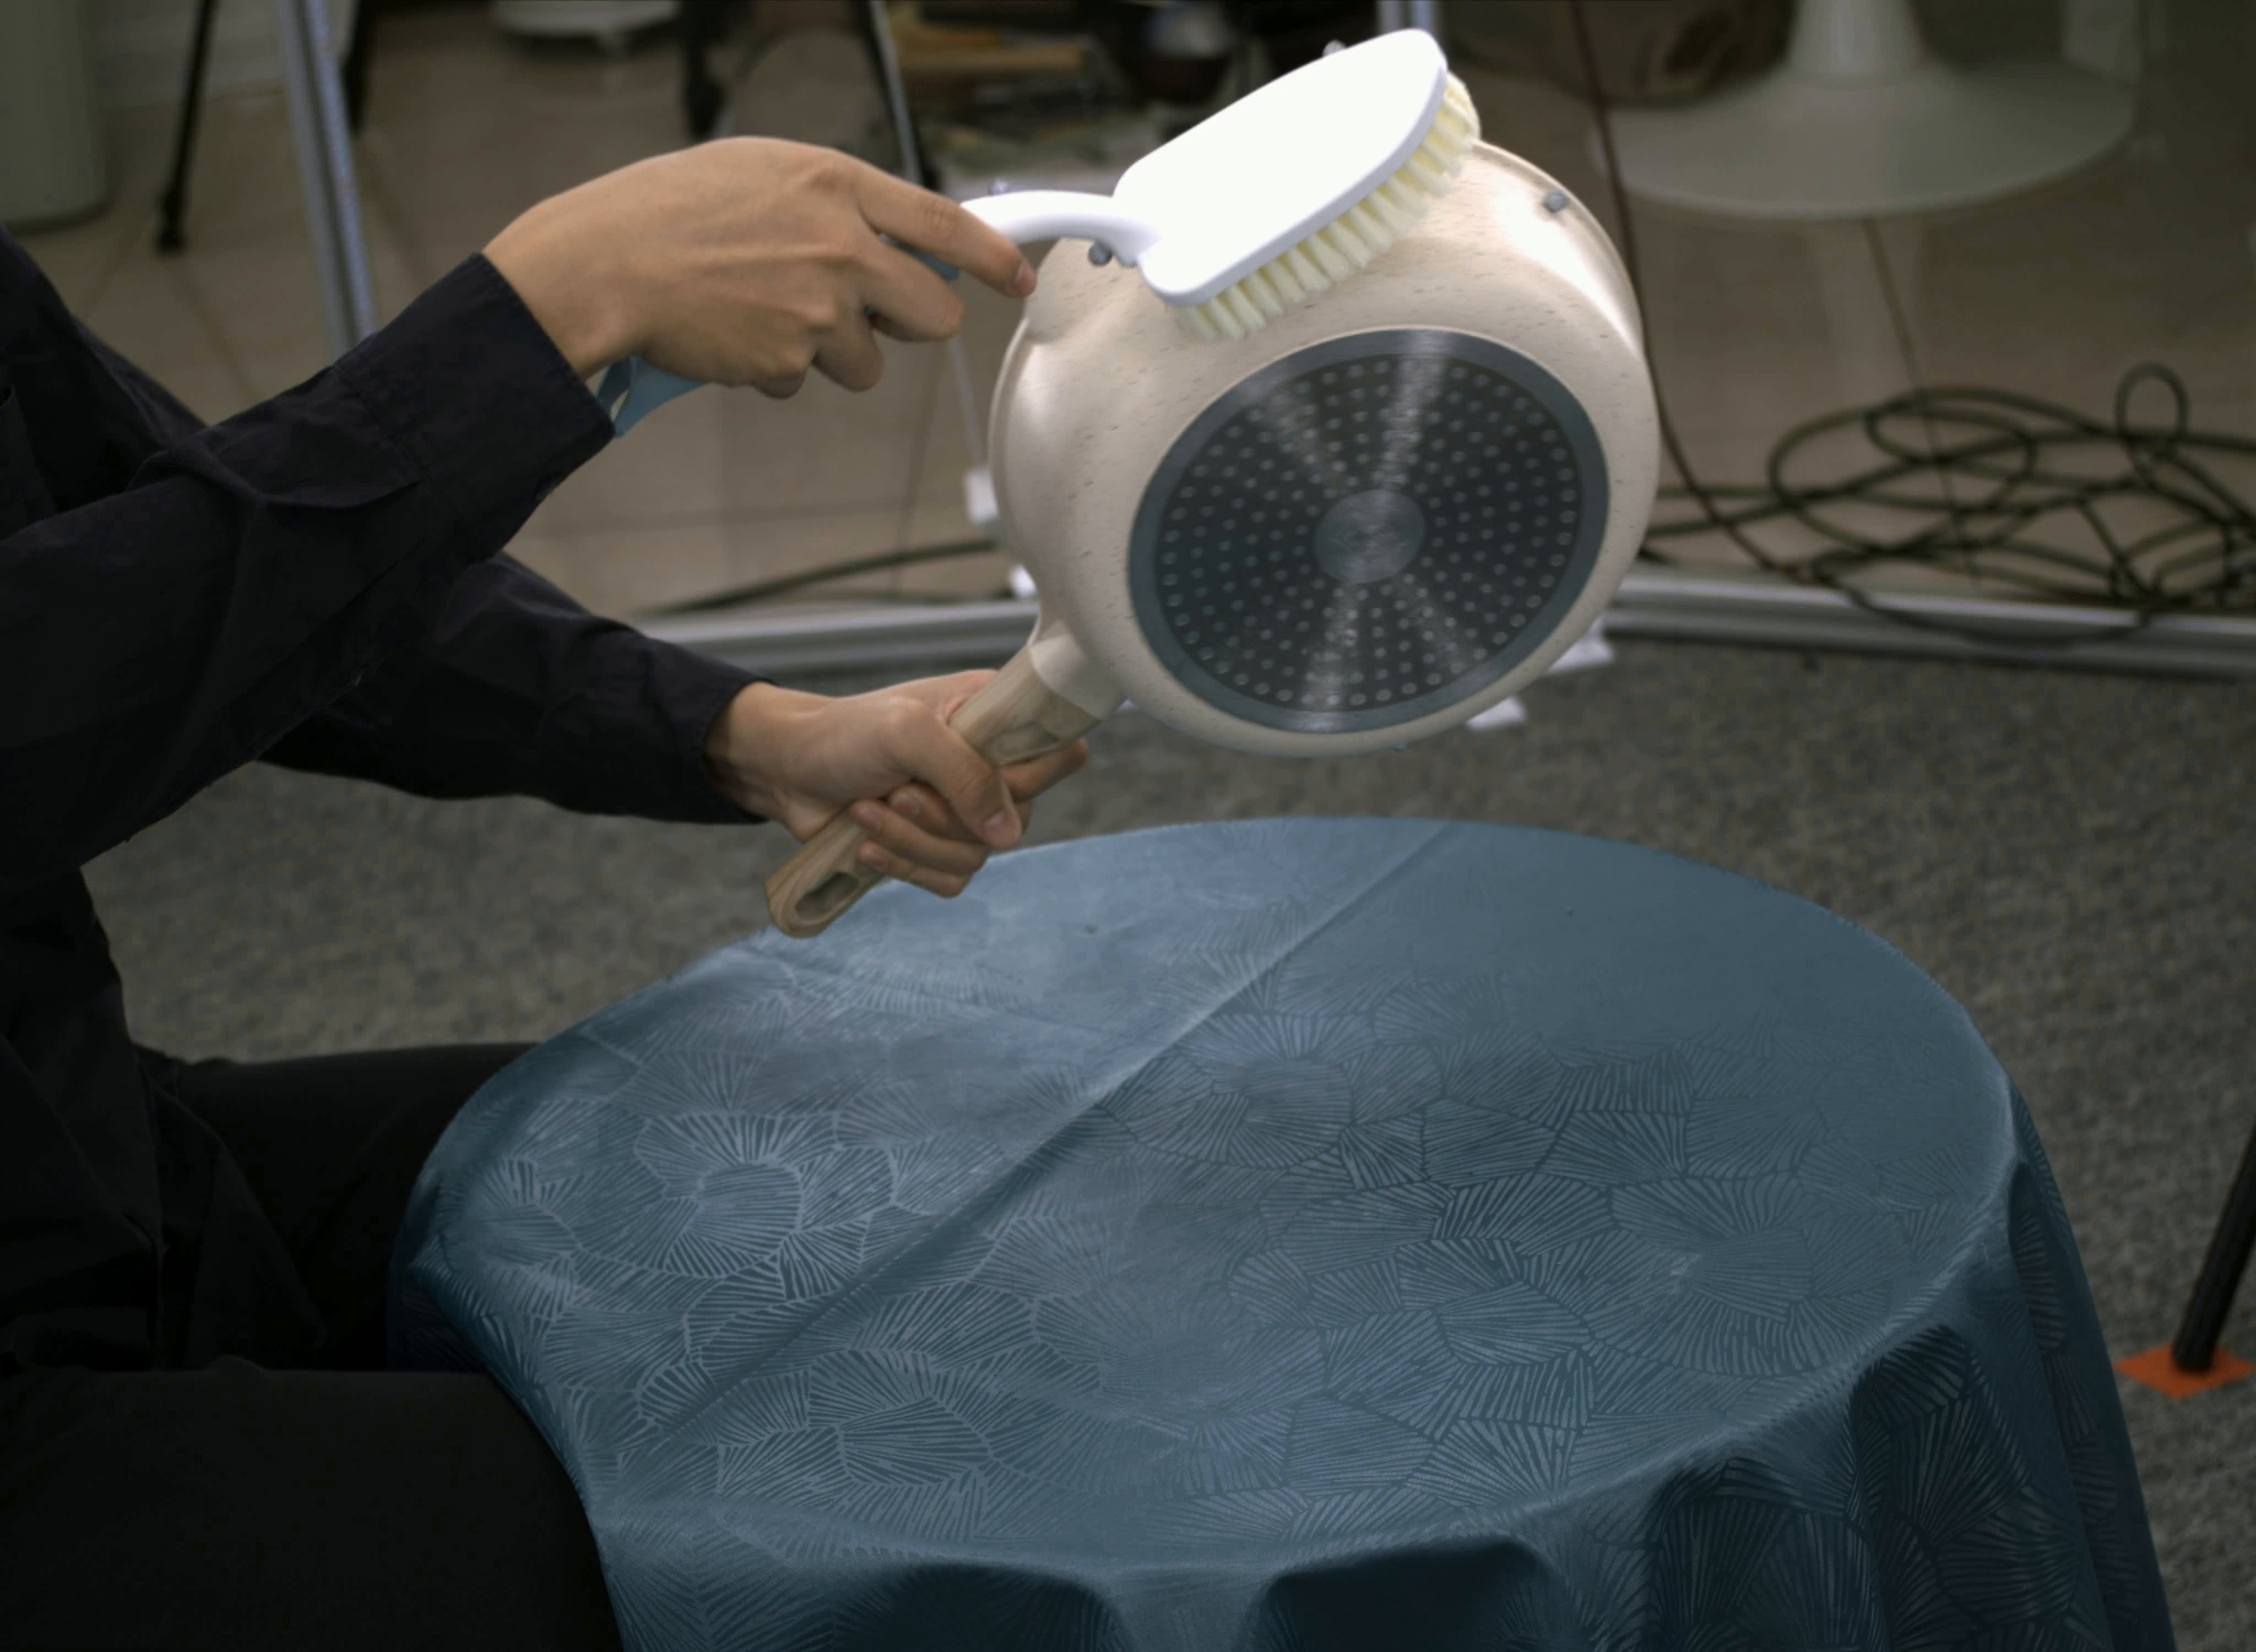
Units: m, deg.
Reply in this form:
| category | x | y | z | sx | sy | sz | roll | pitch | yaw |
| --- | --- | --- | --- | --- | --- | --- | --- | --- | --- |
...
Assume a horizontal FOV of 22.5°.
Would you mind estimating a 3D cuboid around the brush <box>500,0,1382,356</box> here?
| category | x | y | z | sx | sy | sz | roll | pitch | yaw |
| --- | --- | --- | --- | --- | --- | --- | --- | --- | --- |
| brush | -0.063 | -0.218 | 1.987 | 0.325 | 0.085 | 0.082 | -23 | 15 | 0 |

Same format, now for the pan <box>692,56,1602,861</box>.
| category | x | y | z | sx | sy | sz | roll | pitch | yaw |
| --- | --- | --- | --- | --- | --- | --- | --- | --- | --- |
| pan | -0.006 | -0.105 | 2.139 | 0.438 | 0.266 | 0.100 | -43 | 39 | 21 |
